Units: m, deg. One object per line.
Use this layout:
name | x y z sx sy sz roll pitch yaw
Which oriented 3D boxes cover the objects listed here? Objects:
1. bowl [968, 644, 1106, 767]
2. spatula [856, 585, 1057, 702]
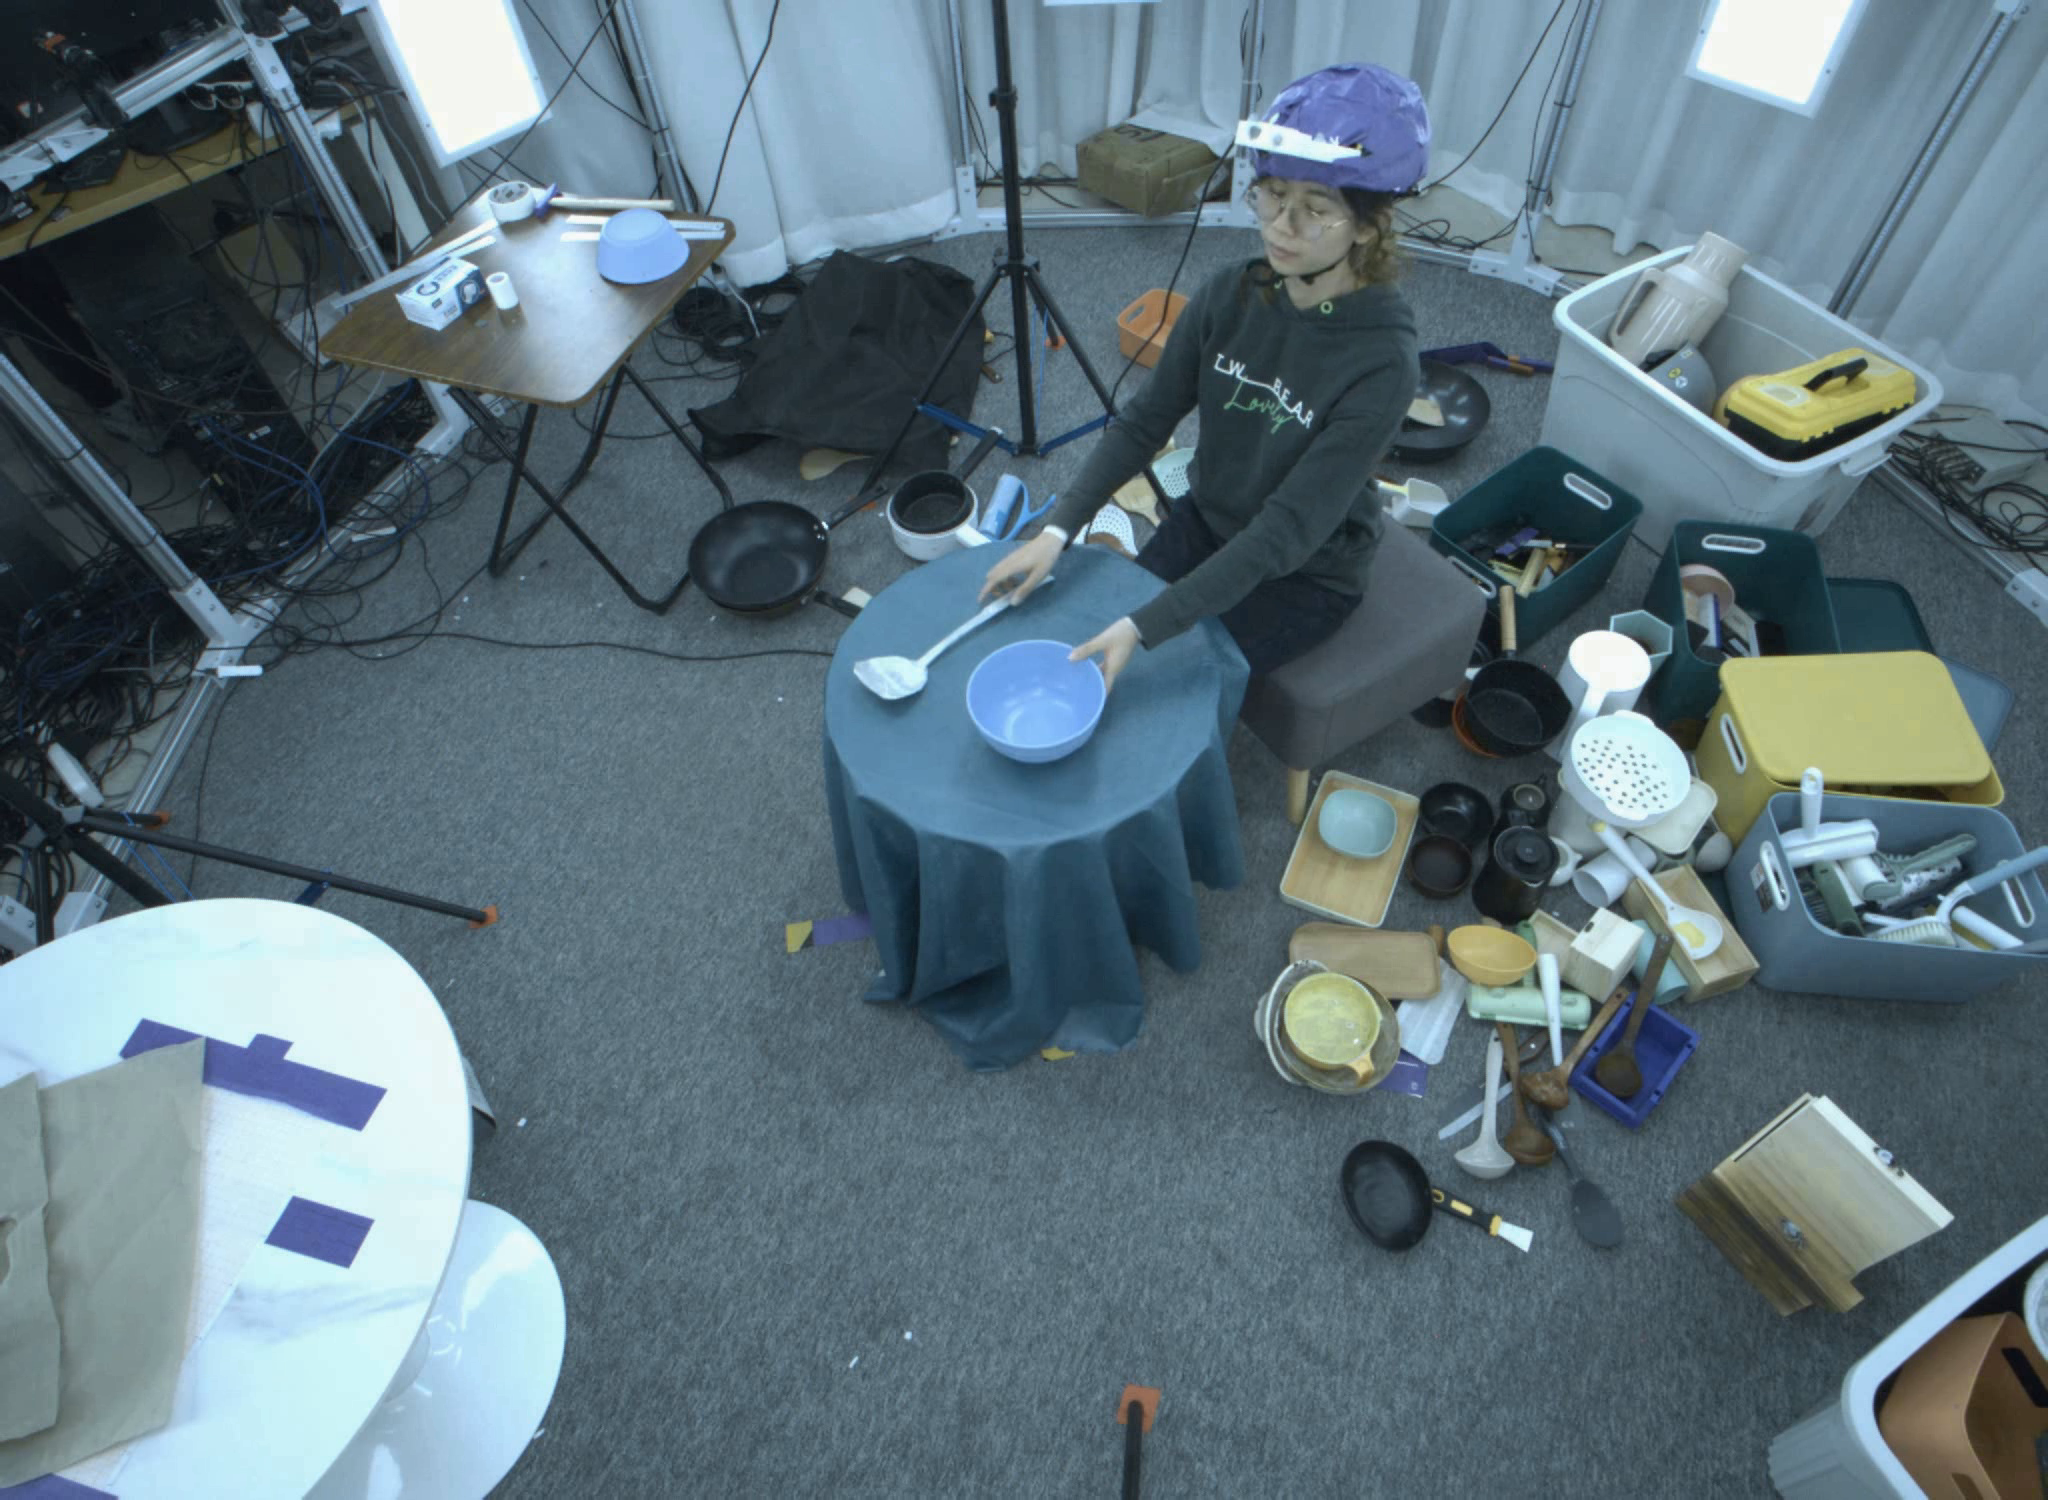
bowl | 0.022 -0.049 1.773 0.196 0.096 0.194 -1 55 3
spatula | -0.095 -0.179 1.903 0.367 0.045 0.097 -36 59 -21
